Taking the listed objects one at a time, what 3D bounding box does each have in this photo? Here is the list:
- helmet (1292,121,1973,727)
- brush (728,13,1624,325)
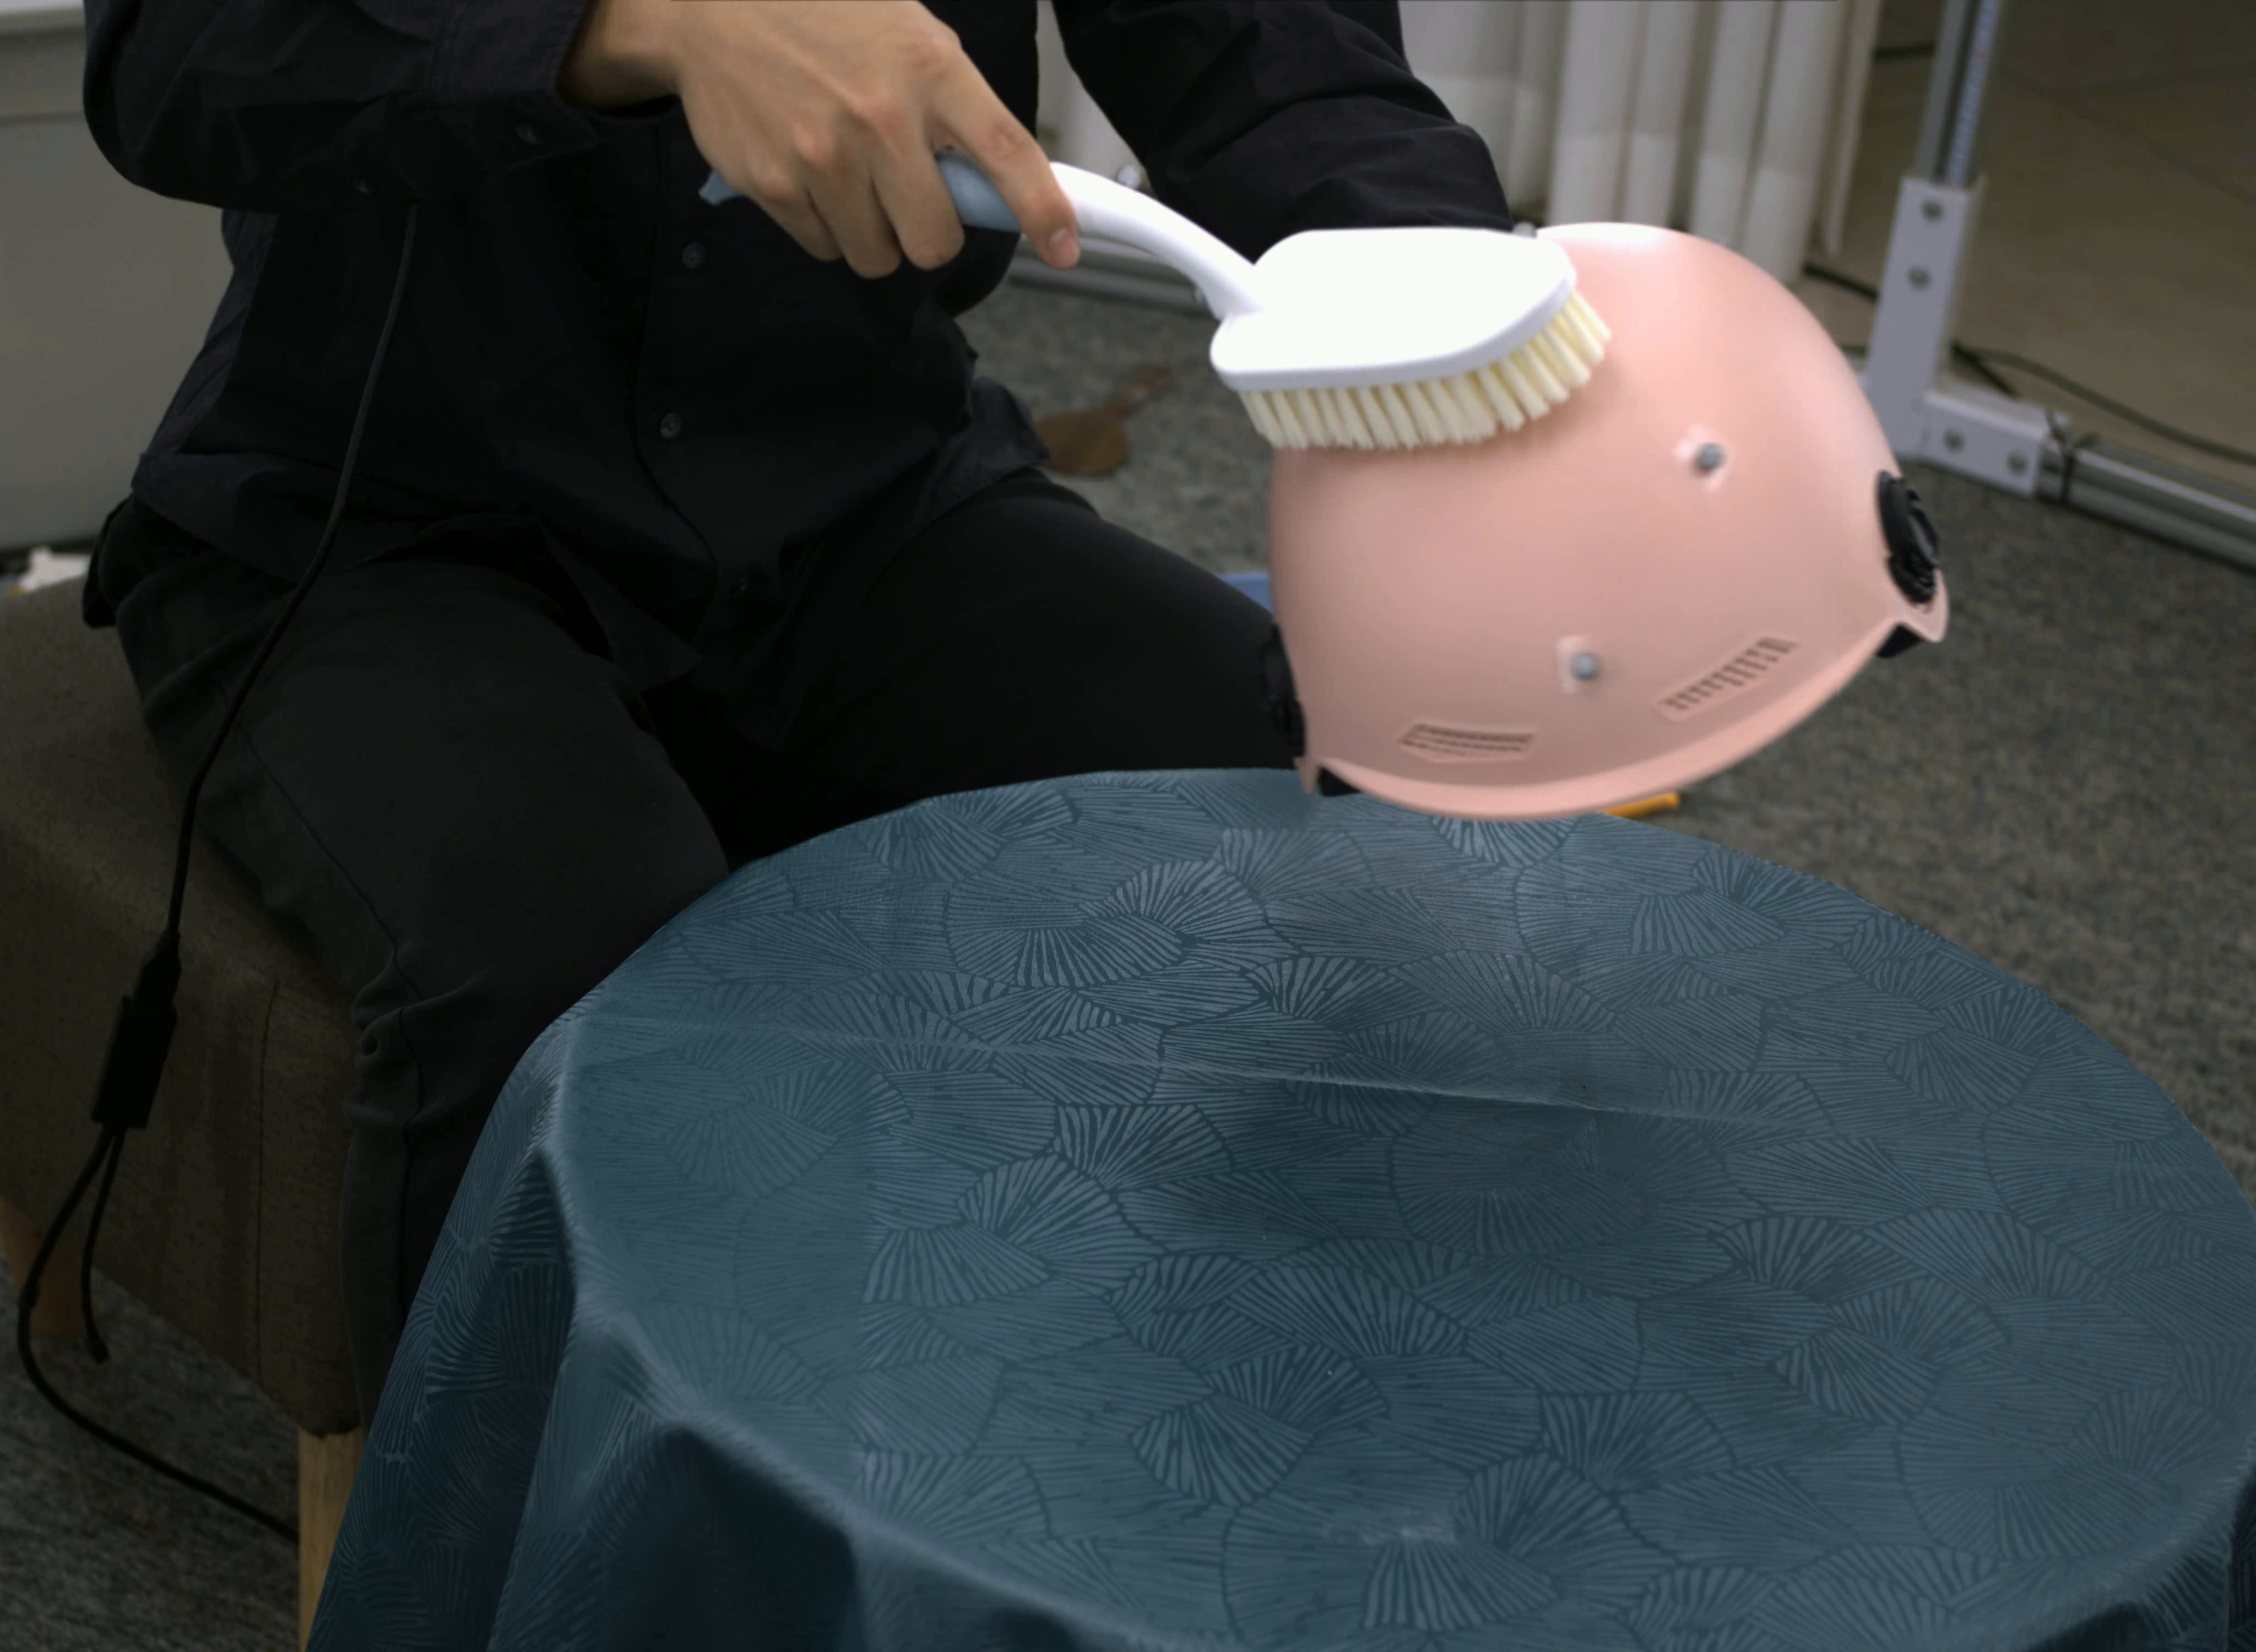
[{"bbox_3d":[0.158,-0.150,1.808,0.234,0.158,0.267,-14,22,10],"label":"helmet"},{"bbox_3d":[0.015,-0.218,1.784,0.327,0.084,0.083,11,15,27],"label":"brush"}]
